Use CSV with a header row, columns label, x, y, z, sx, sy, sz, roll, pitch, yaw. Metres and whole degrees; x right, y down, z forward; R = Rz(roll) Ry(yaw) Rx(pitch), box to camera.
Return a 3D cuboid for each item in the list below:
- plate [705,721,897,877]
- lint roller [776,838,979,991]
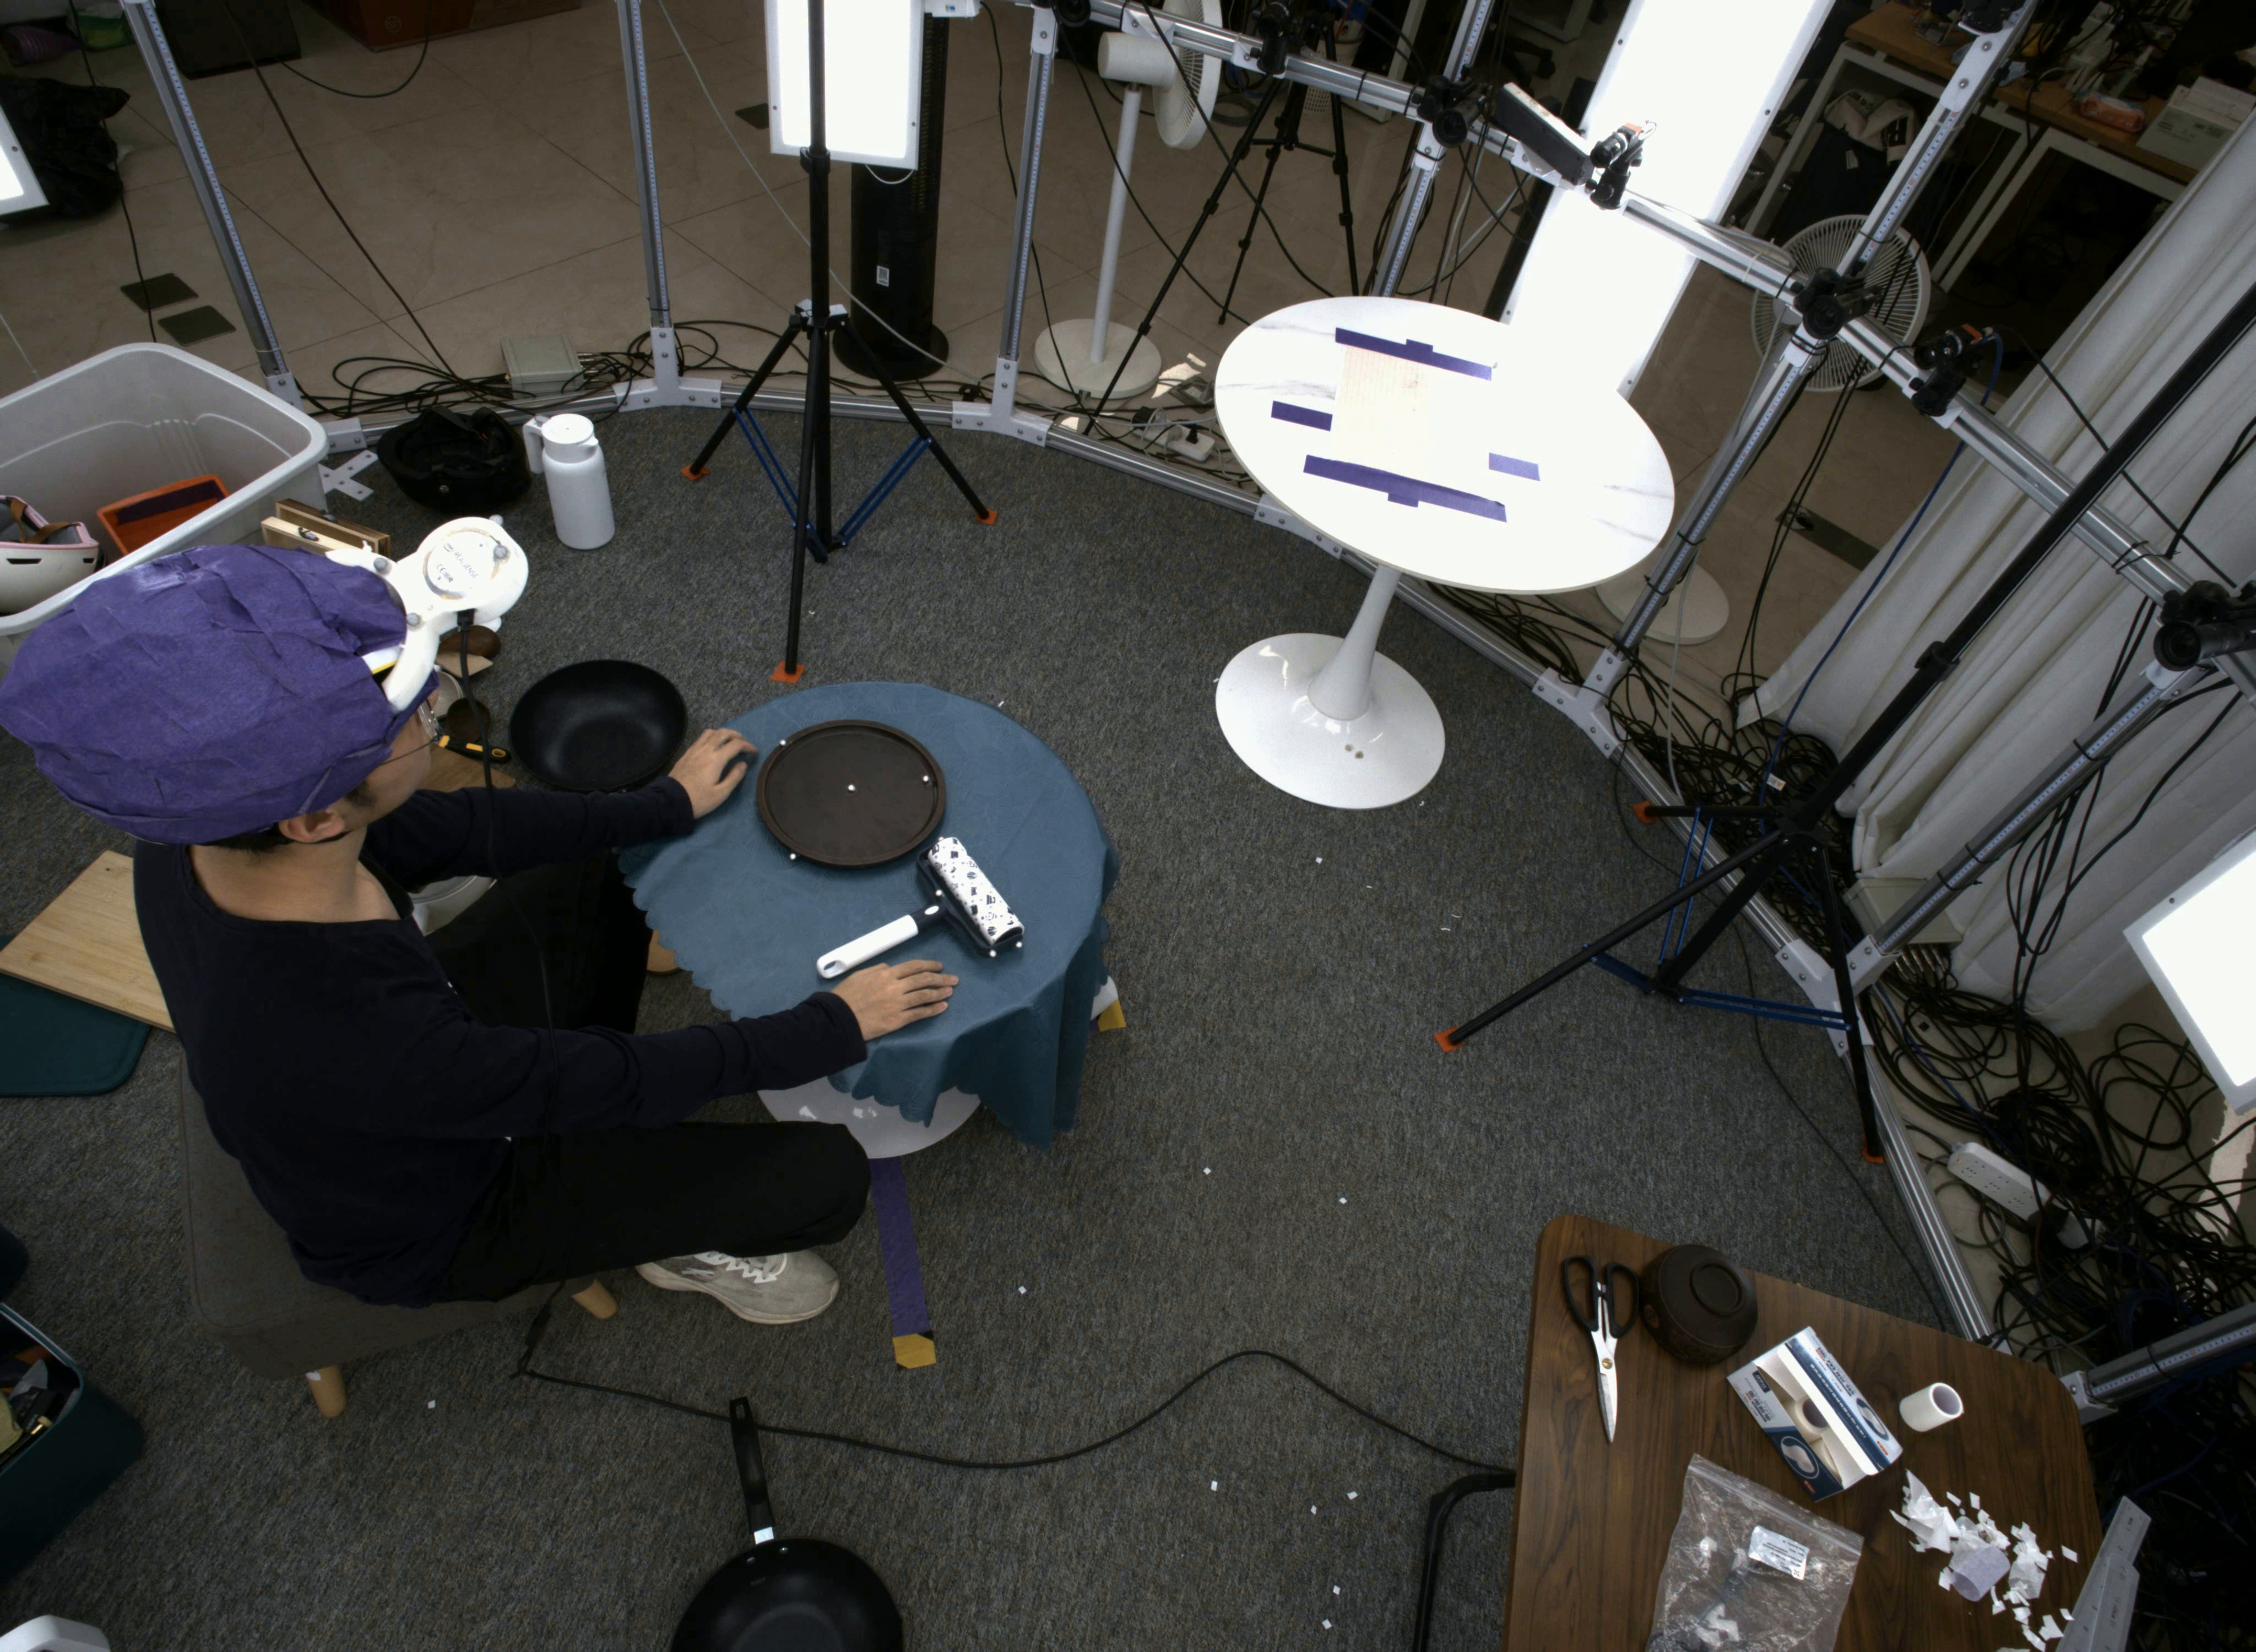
label,x,y,z,sx,sy,sz,roll,pitch,yaw
plate,-0.439,-0.038,1.746,0.254,0.029,0.250,7,54,-8
lint roller,-0.331,0.131,1.635,0.248,0.051,0.172,-31,68,-28
